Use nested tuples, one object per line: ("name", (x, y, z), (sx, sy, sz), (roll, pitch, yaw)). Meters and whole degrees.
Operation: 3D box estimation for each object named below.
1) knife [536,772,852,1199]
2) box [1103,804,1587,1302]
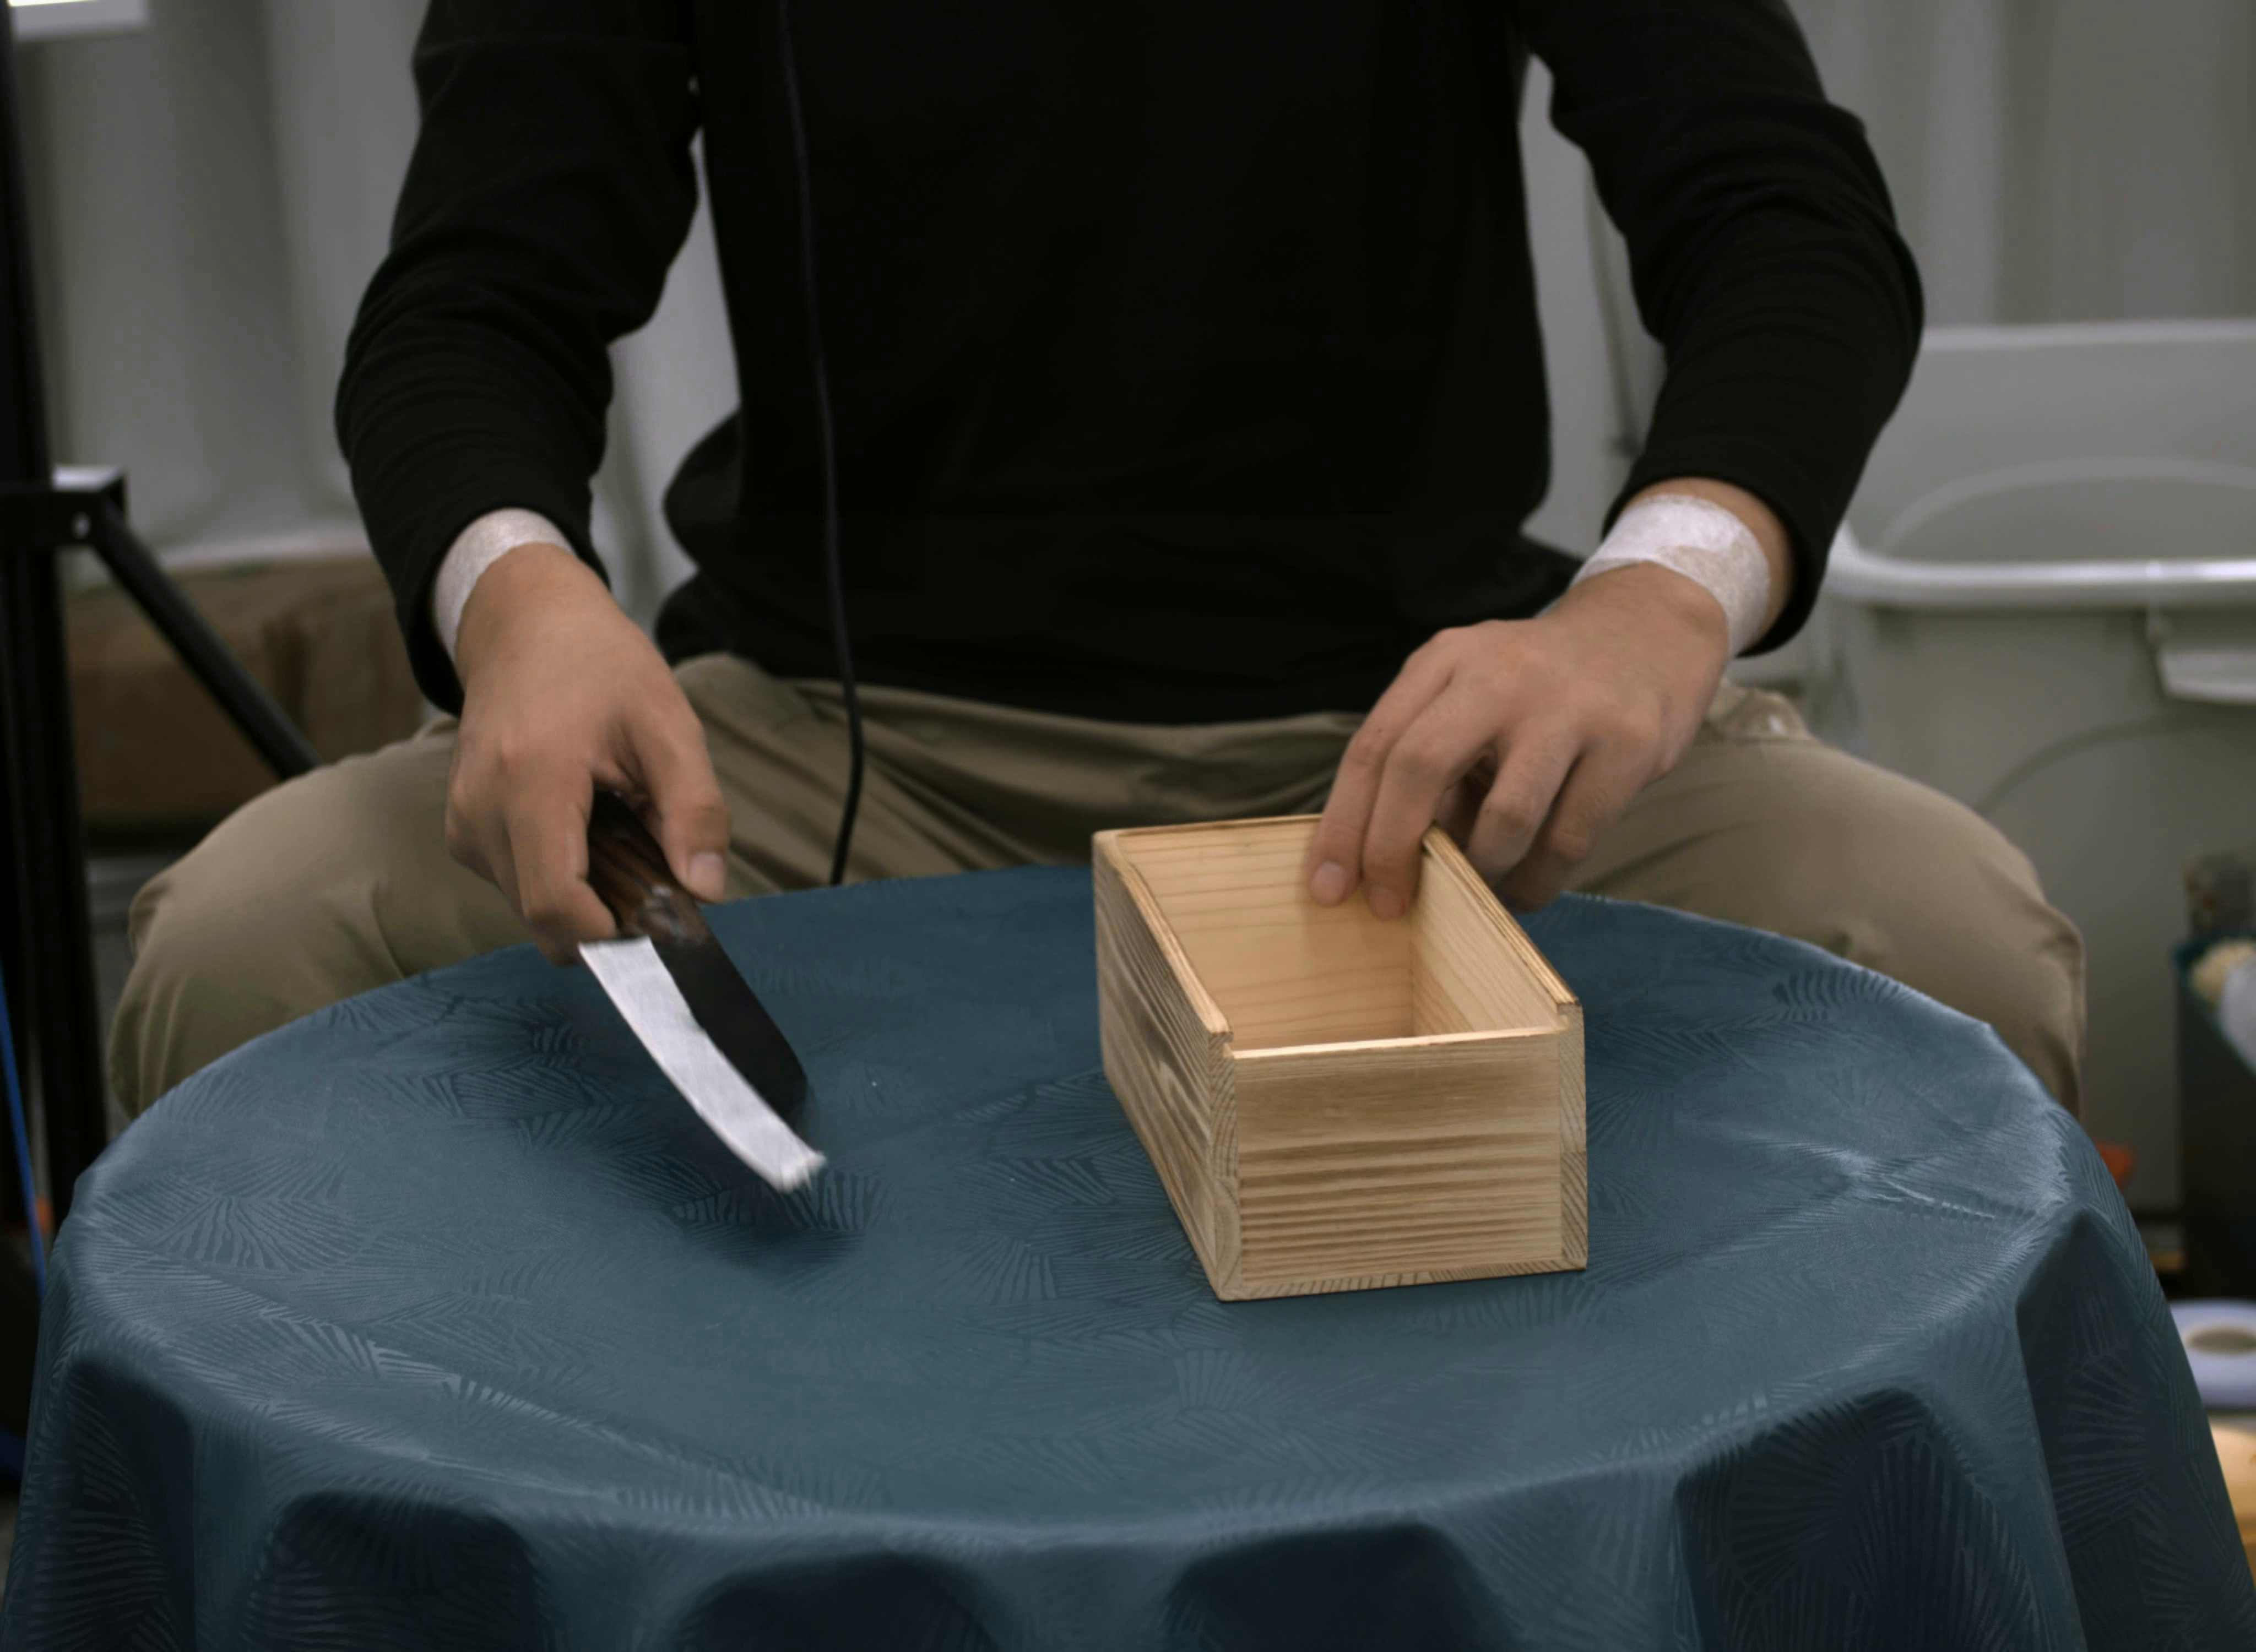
("knife", (-0.138, 0.048, 1.639), (0.049, 0.020, 0.294), (-5, 25, -18))
("box", (0.060, 0.063, 1.561), (0.106, 0.080, 0.213), (-4, 16, -7))
